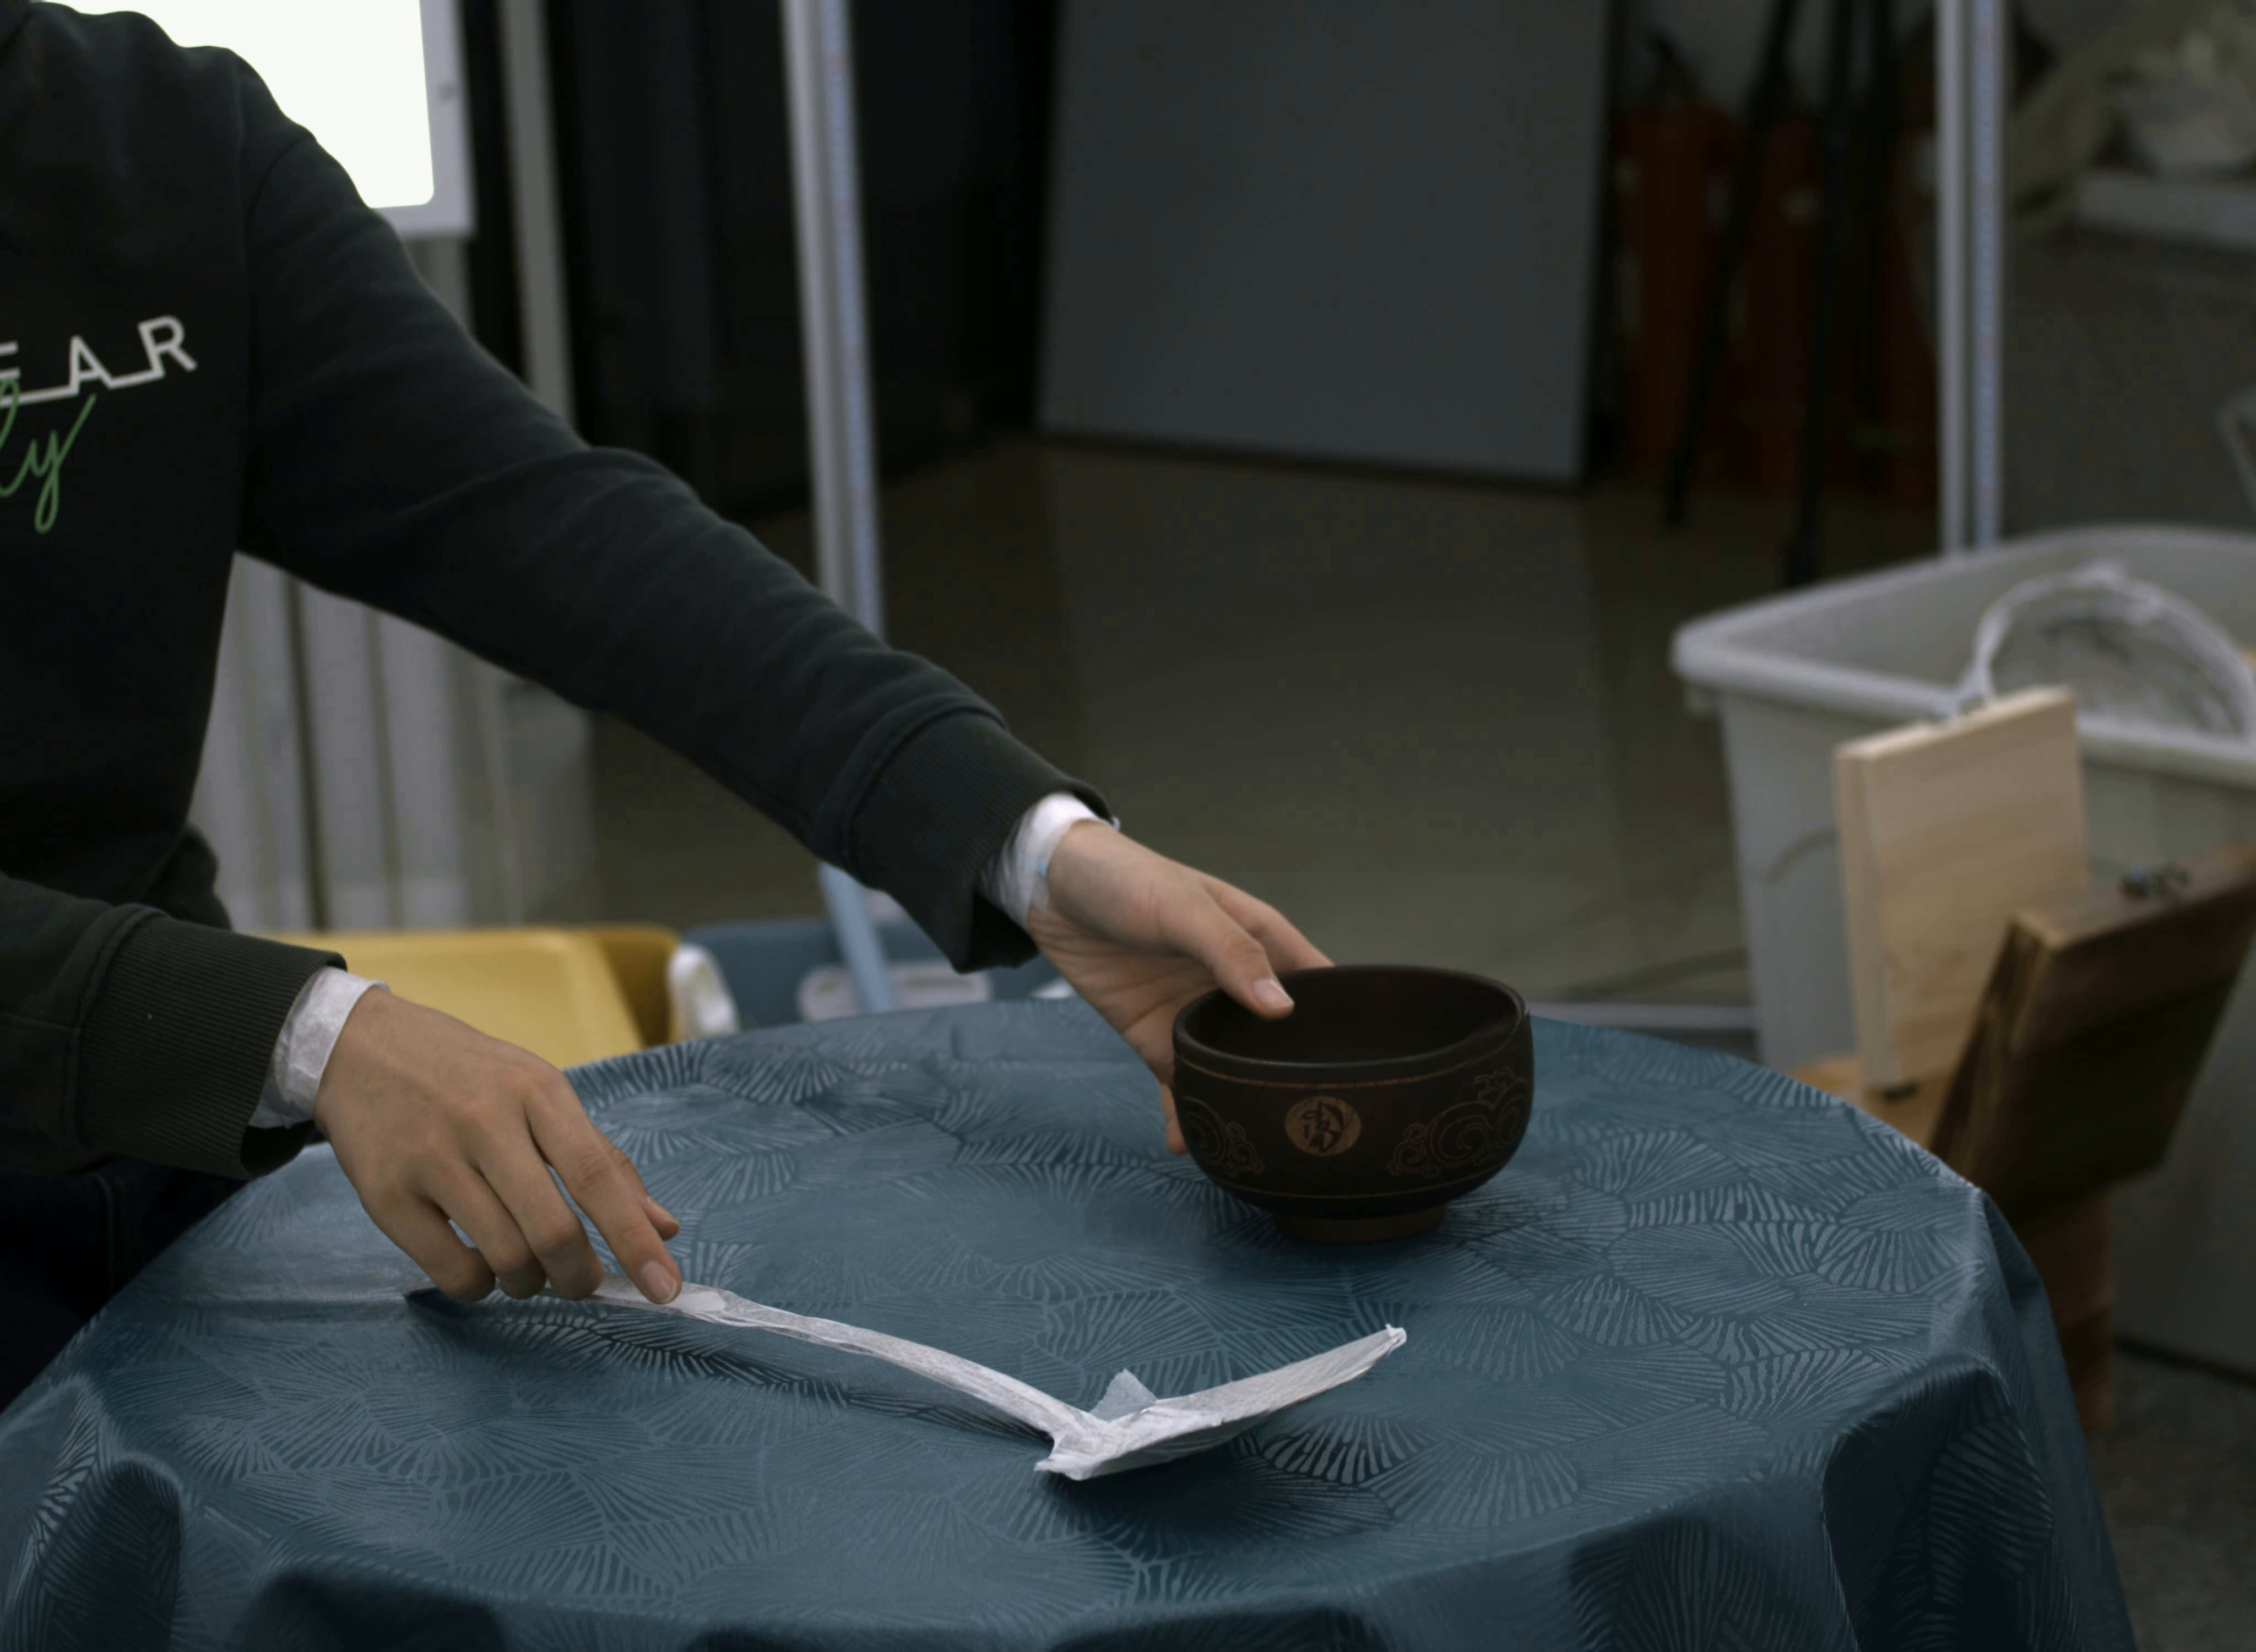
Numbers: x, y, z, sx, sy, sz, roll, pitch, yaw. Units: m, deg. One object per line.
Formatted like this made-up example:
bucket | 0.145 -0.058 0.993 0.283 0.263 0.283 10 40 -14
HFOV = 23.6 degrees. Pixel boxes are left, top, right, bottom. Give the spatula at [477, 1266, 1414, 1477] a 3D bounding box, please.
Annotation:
spatula | -0.075 0.149 1.599 0.368 0.045 0.097 8 21 40

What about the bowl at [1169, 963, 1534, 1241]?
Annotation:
bowl | 0.072 0.091 1.722 0.116 0.070 0.118 -4 12 0
